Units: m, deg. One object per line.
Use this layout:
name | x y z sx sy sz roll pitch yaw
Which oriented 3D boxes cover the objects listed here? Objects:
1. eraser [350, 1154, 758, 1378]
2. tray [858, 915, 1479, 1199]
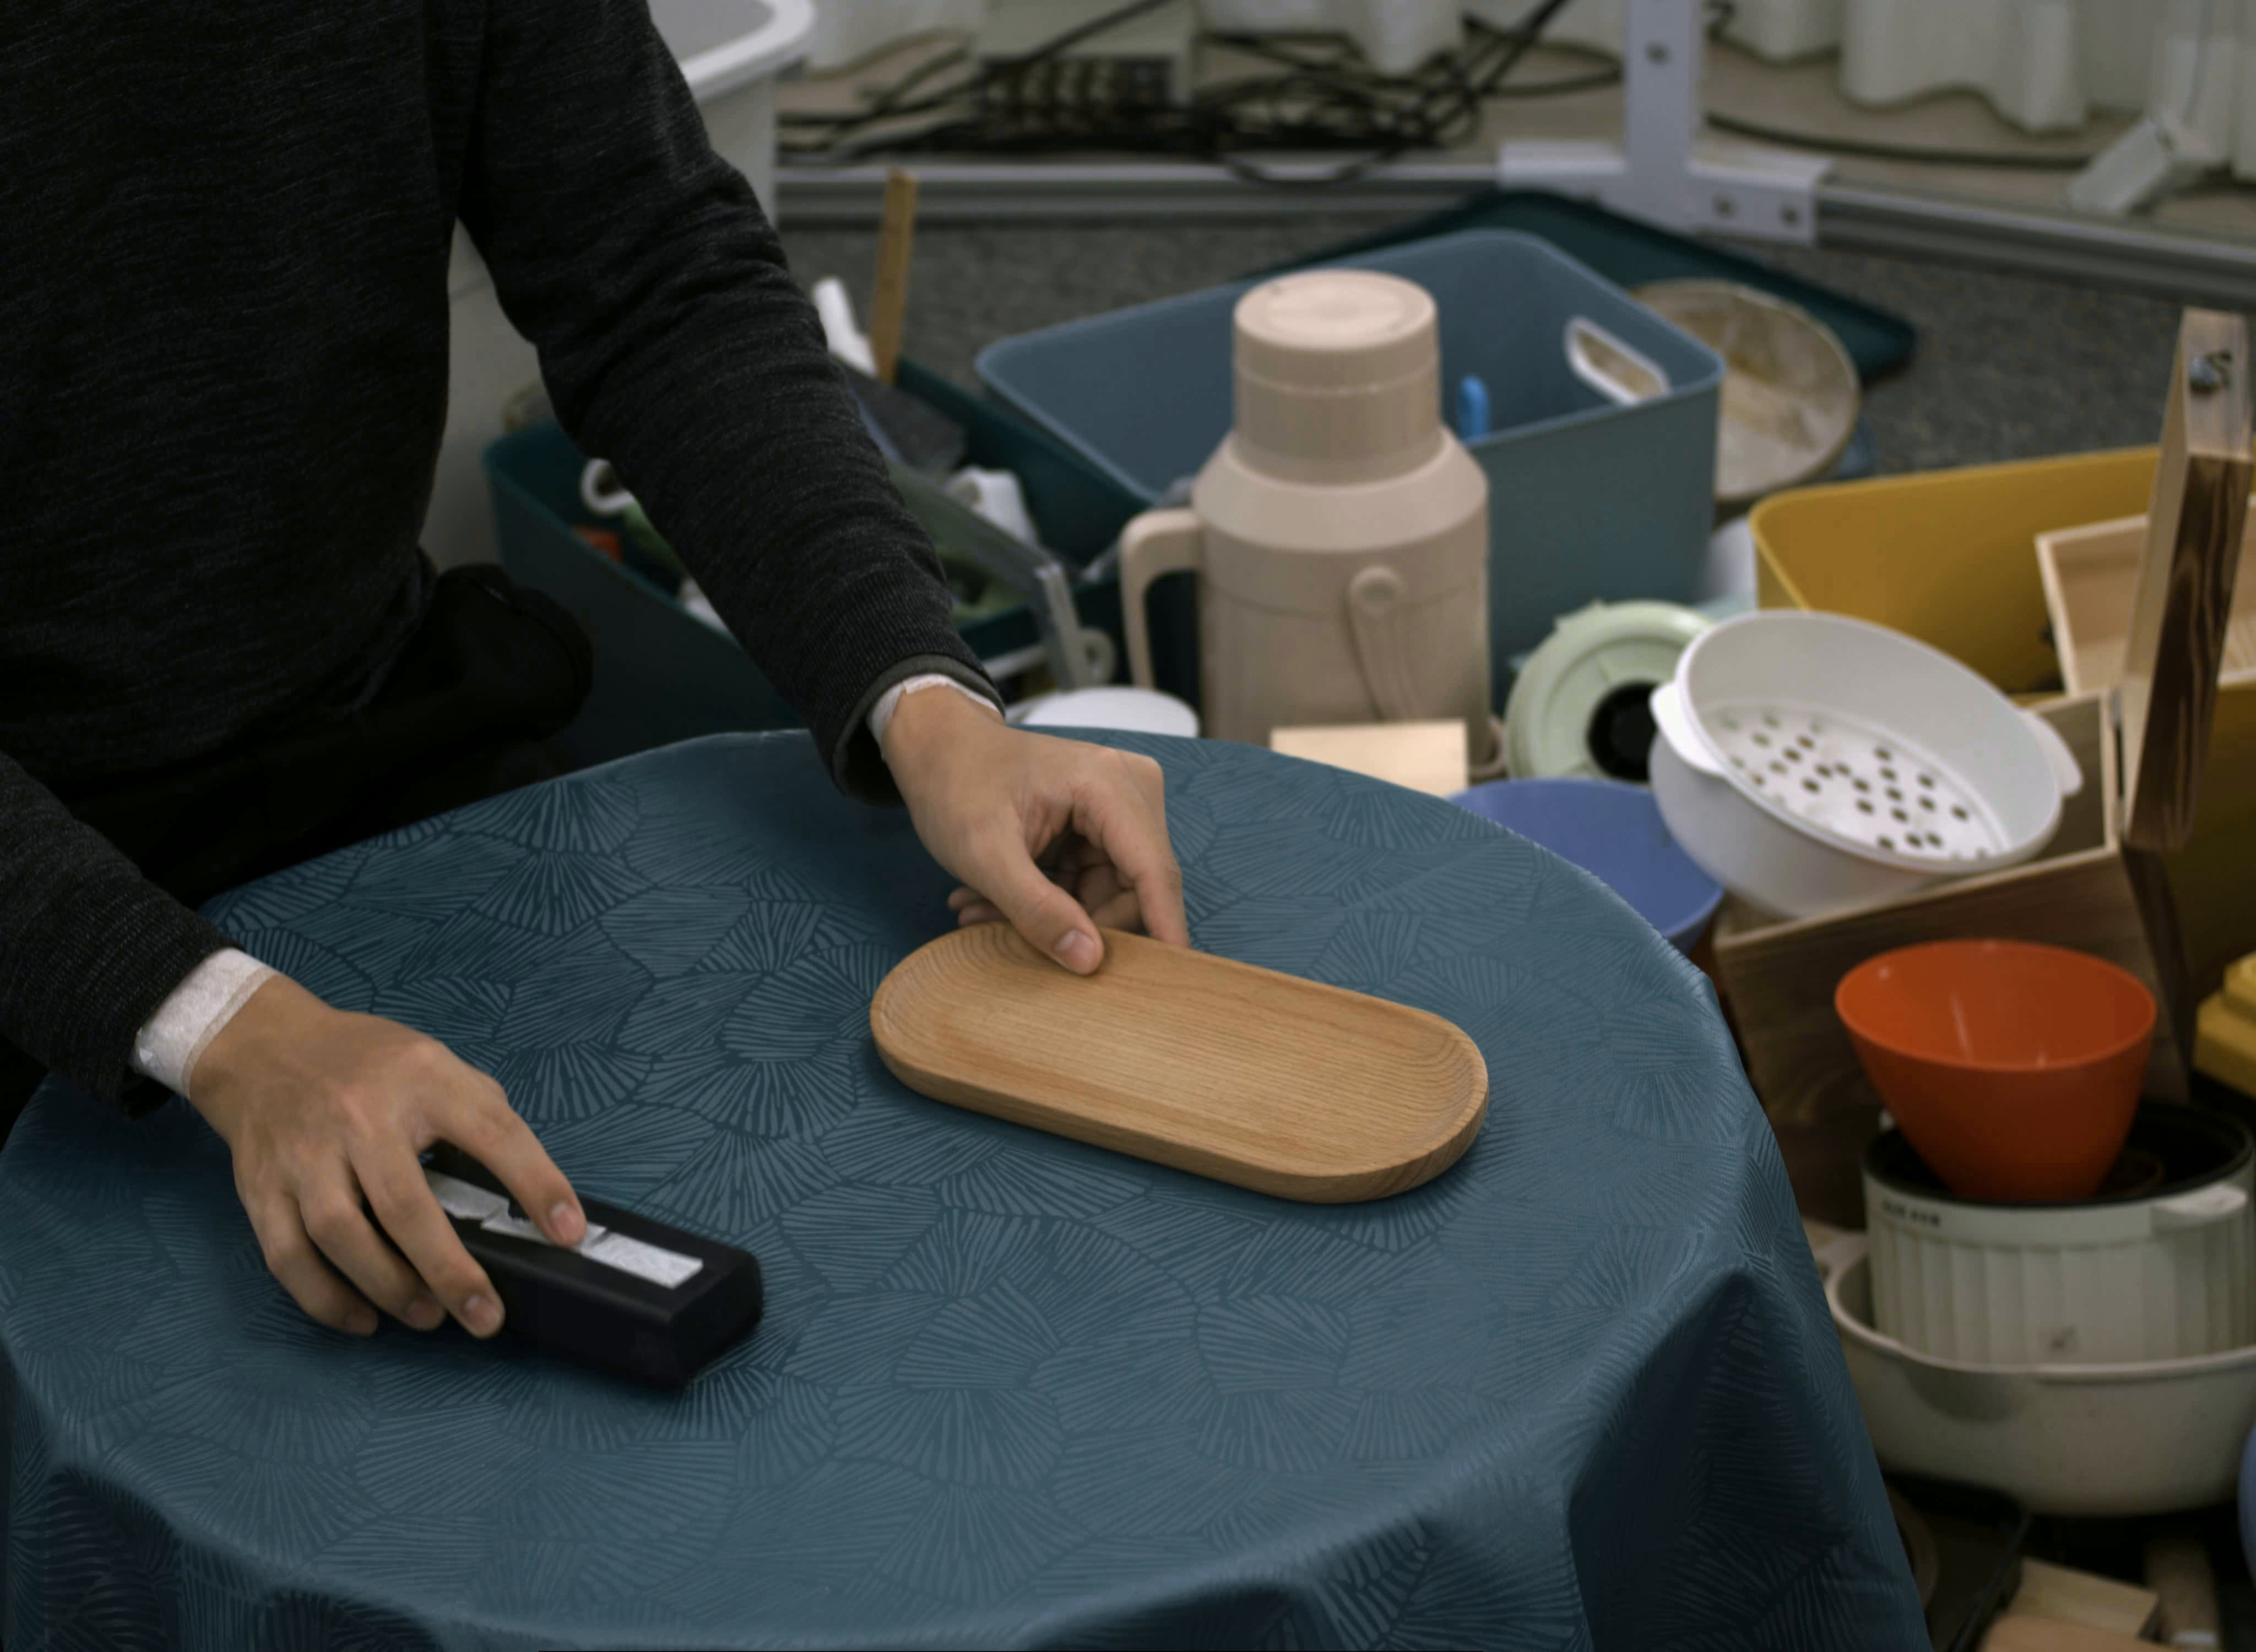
eraser | -0.183 0.140 1.794 0.125 0.030 0.054 14 26 25
tray | 0.013 0.078 1.917 0.230 0.020 0.103 12 36 29
